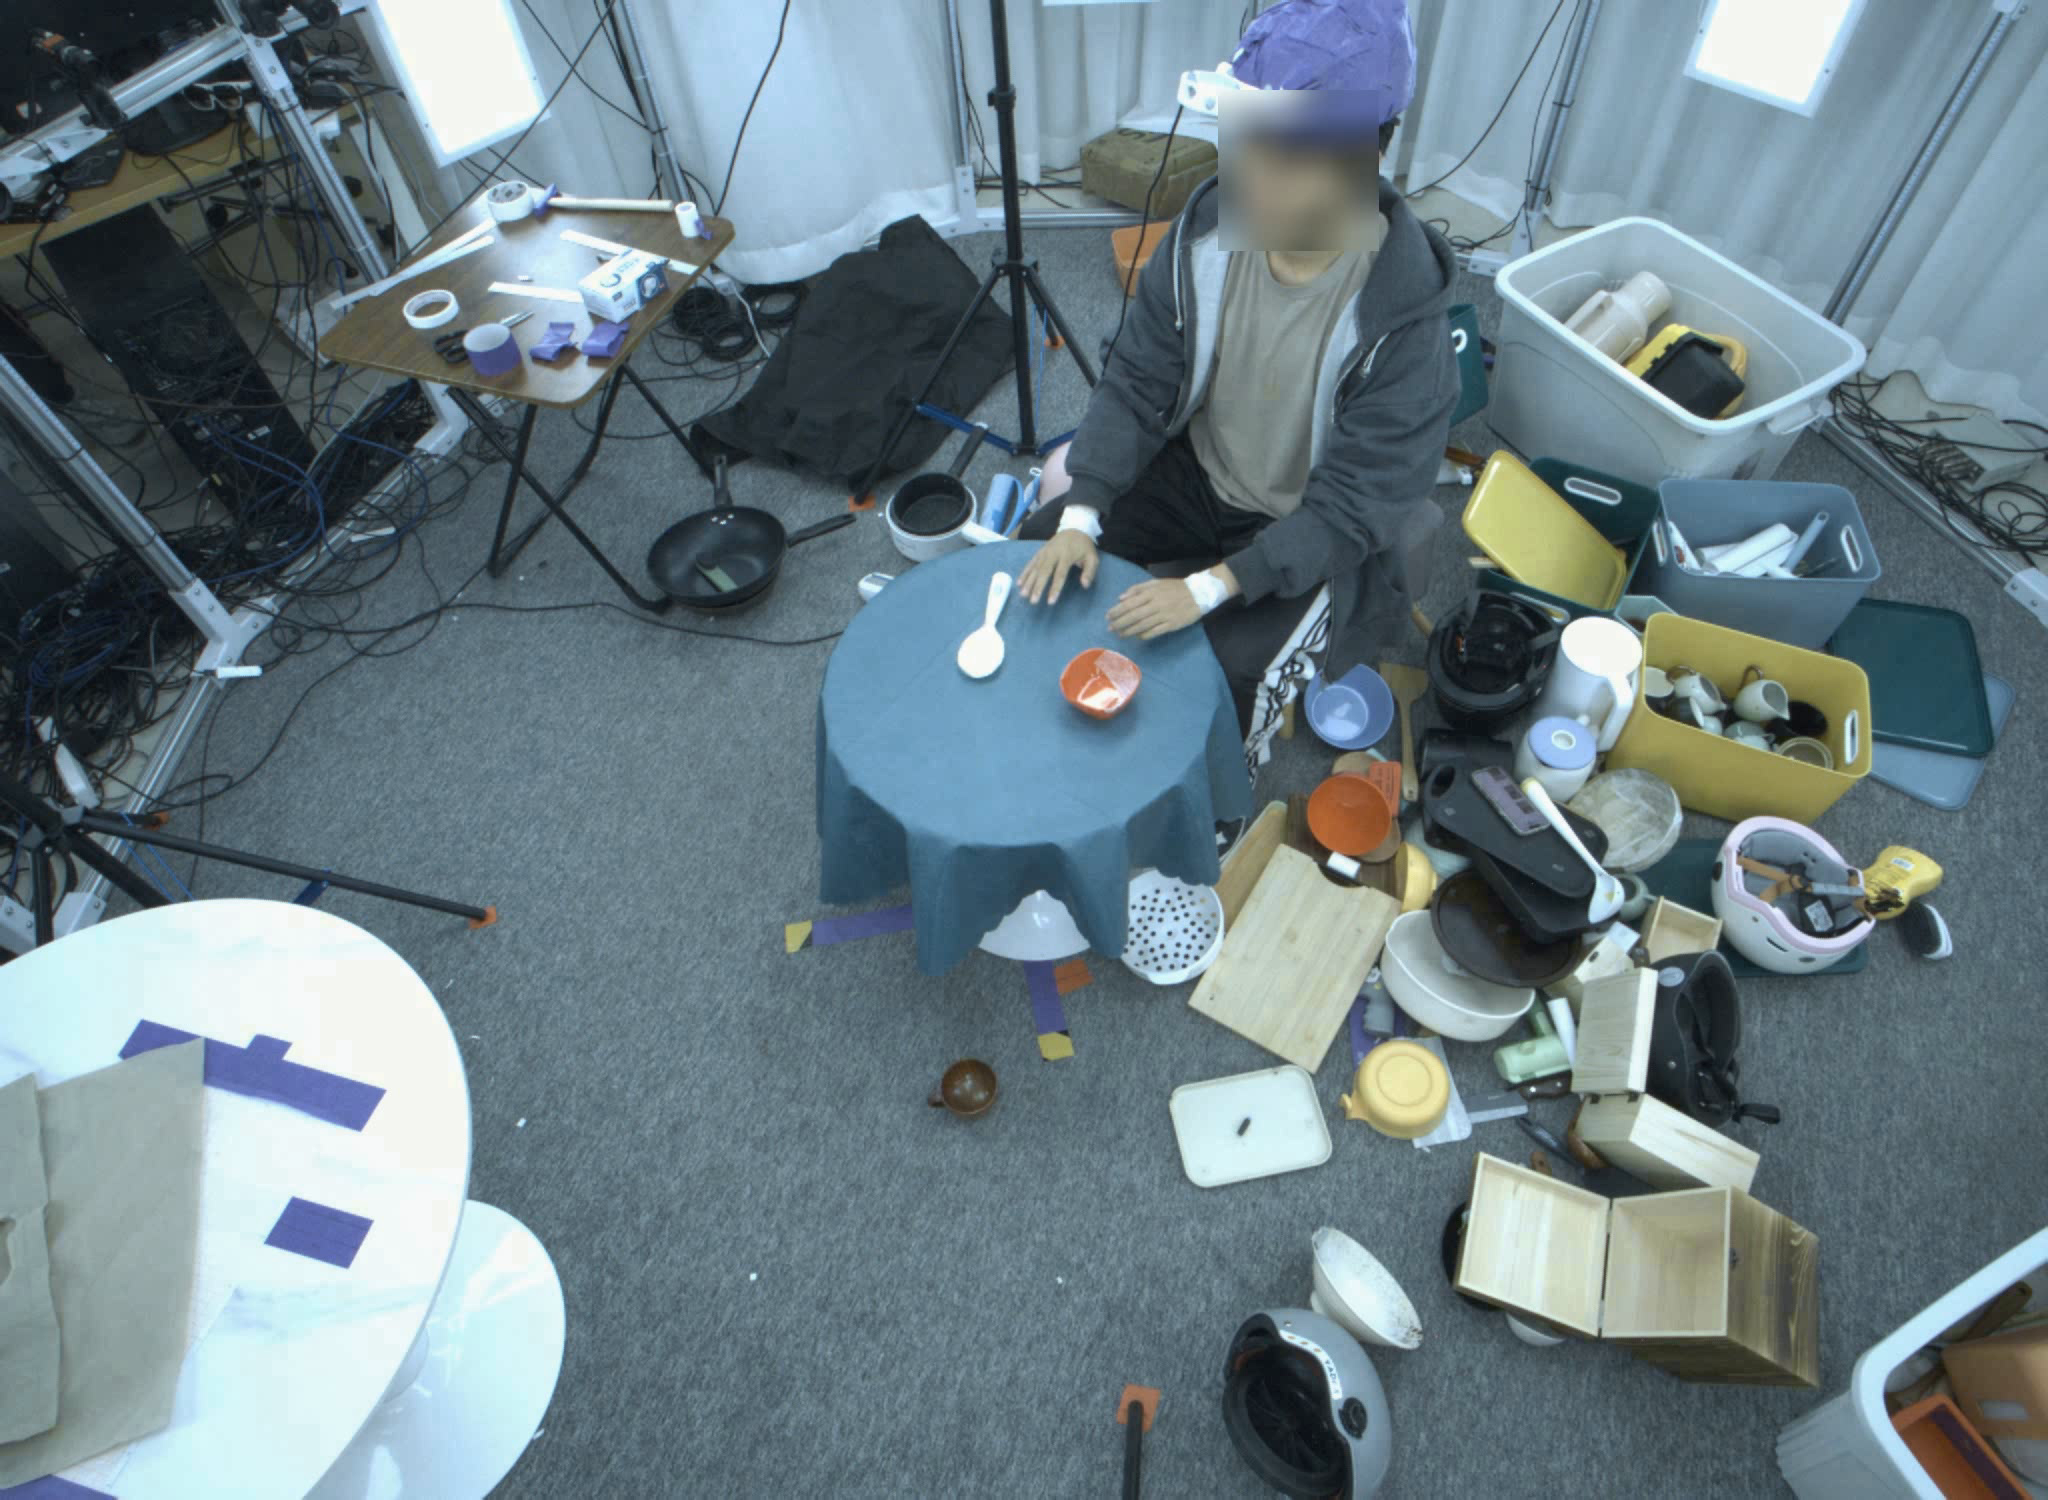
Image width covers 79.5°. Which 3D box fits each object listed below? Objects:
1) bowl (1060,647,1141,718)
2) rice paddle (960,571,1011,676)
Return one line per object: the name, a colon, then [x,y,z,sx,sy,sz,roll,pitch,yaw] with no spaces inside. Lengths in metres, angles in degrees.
bowl: [0.113,-0.092,1.818,0.119,0.052,0.118,-1,56,2]
rice paddle: [-0.053,-0.196,1.912,0.068,0.030,0.204,6,55,8]
